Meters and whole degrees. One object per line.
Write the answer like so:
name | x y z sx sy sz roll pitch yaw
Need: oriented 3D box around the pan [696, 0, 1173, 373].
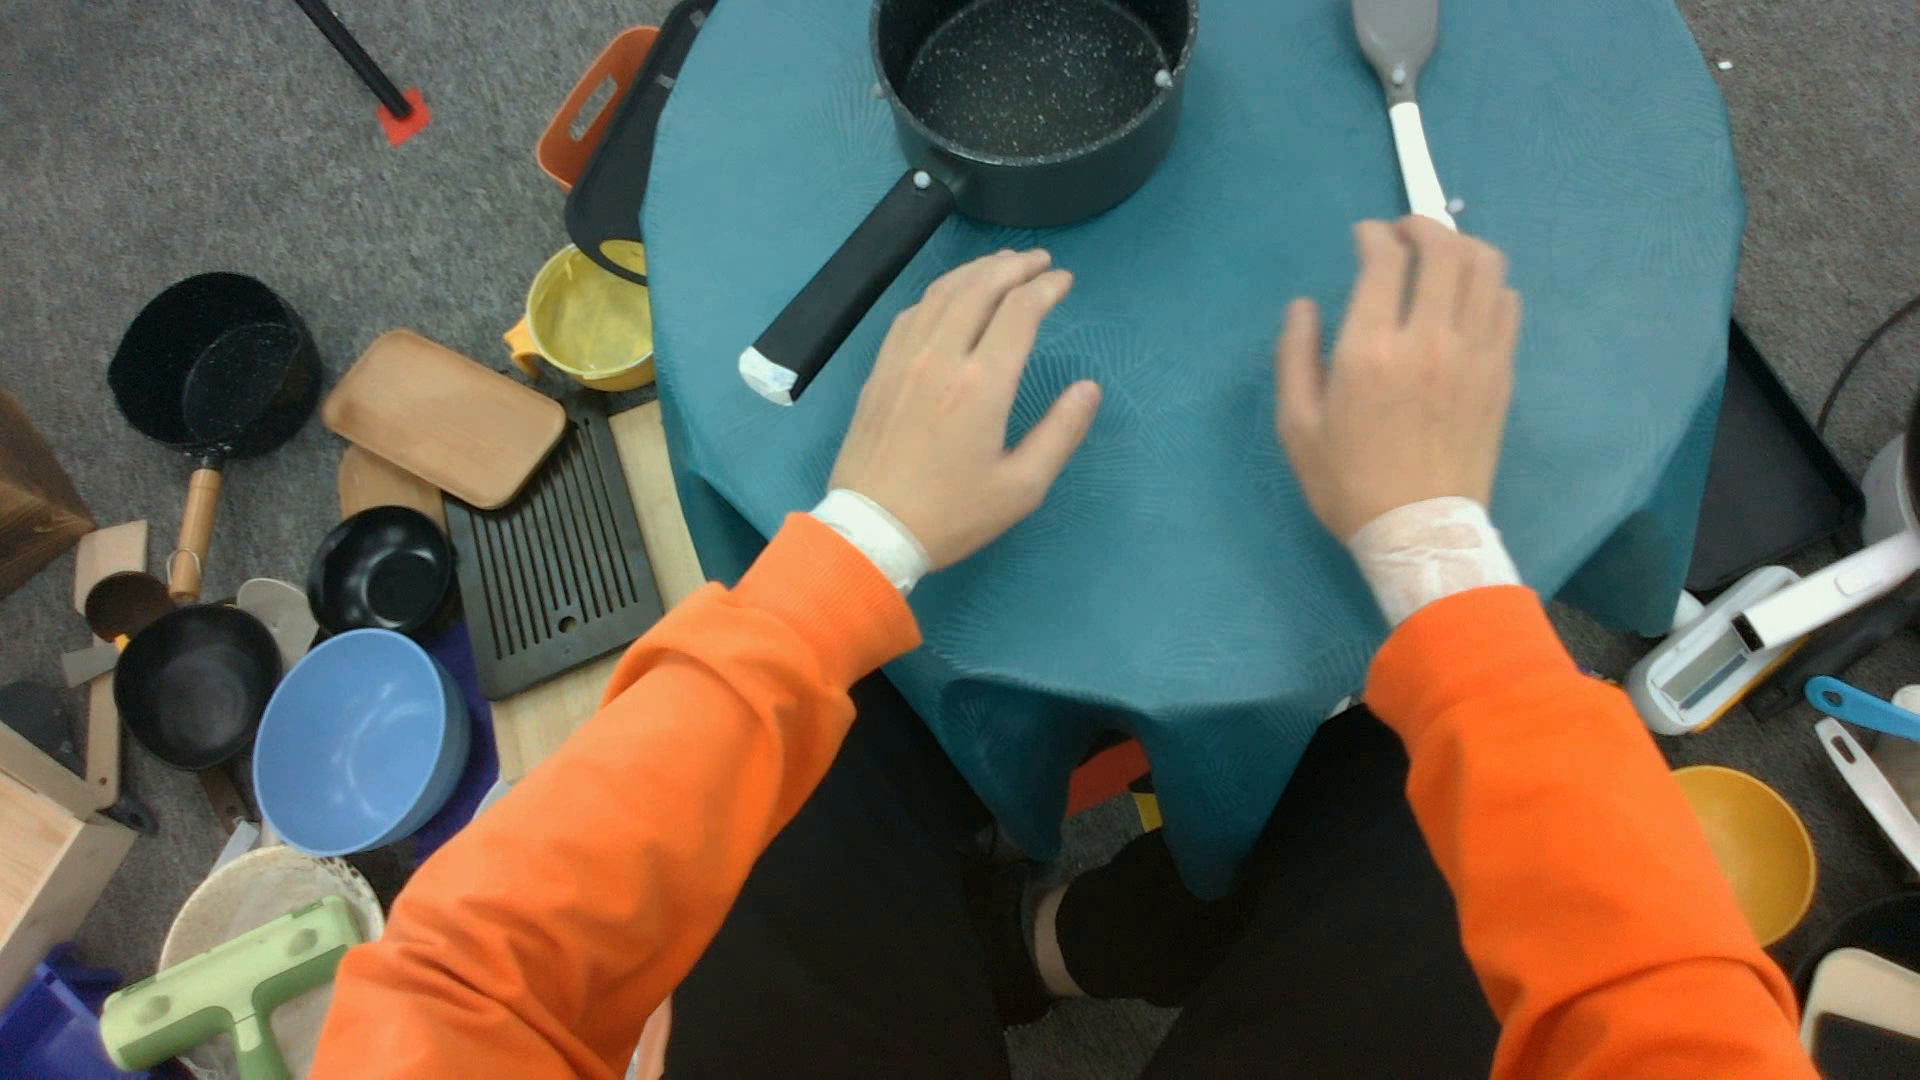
pan | -0.018 -0.206 0.731 0.172 0.086 0.329 33 76 15

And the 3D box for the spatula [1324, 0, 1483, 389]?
spatula | 0.236 -0.219 0.742 0.059 0.032 0.288 -3 73 -6
